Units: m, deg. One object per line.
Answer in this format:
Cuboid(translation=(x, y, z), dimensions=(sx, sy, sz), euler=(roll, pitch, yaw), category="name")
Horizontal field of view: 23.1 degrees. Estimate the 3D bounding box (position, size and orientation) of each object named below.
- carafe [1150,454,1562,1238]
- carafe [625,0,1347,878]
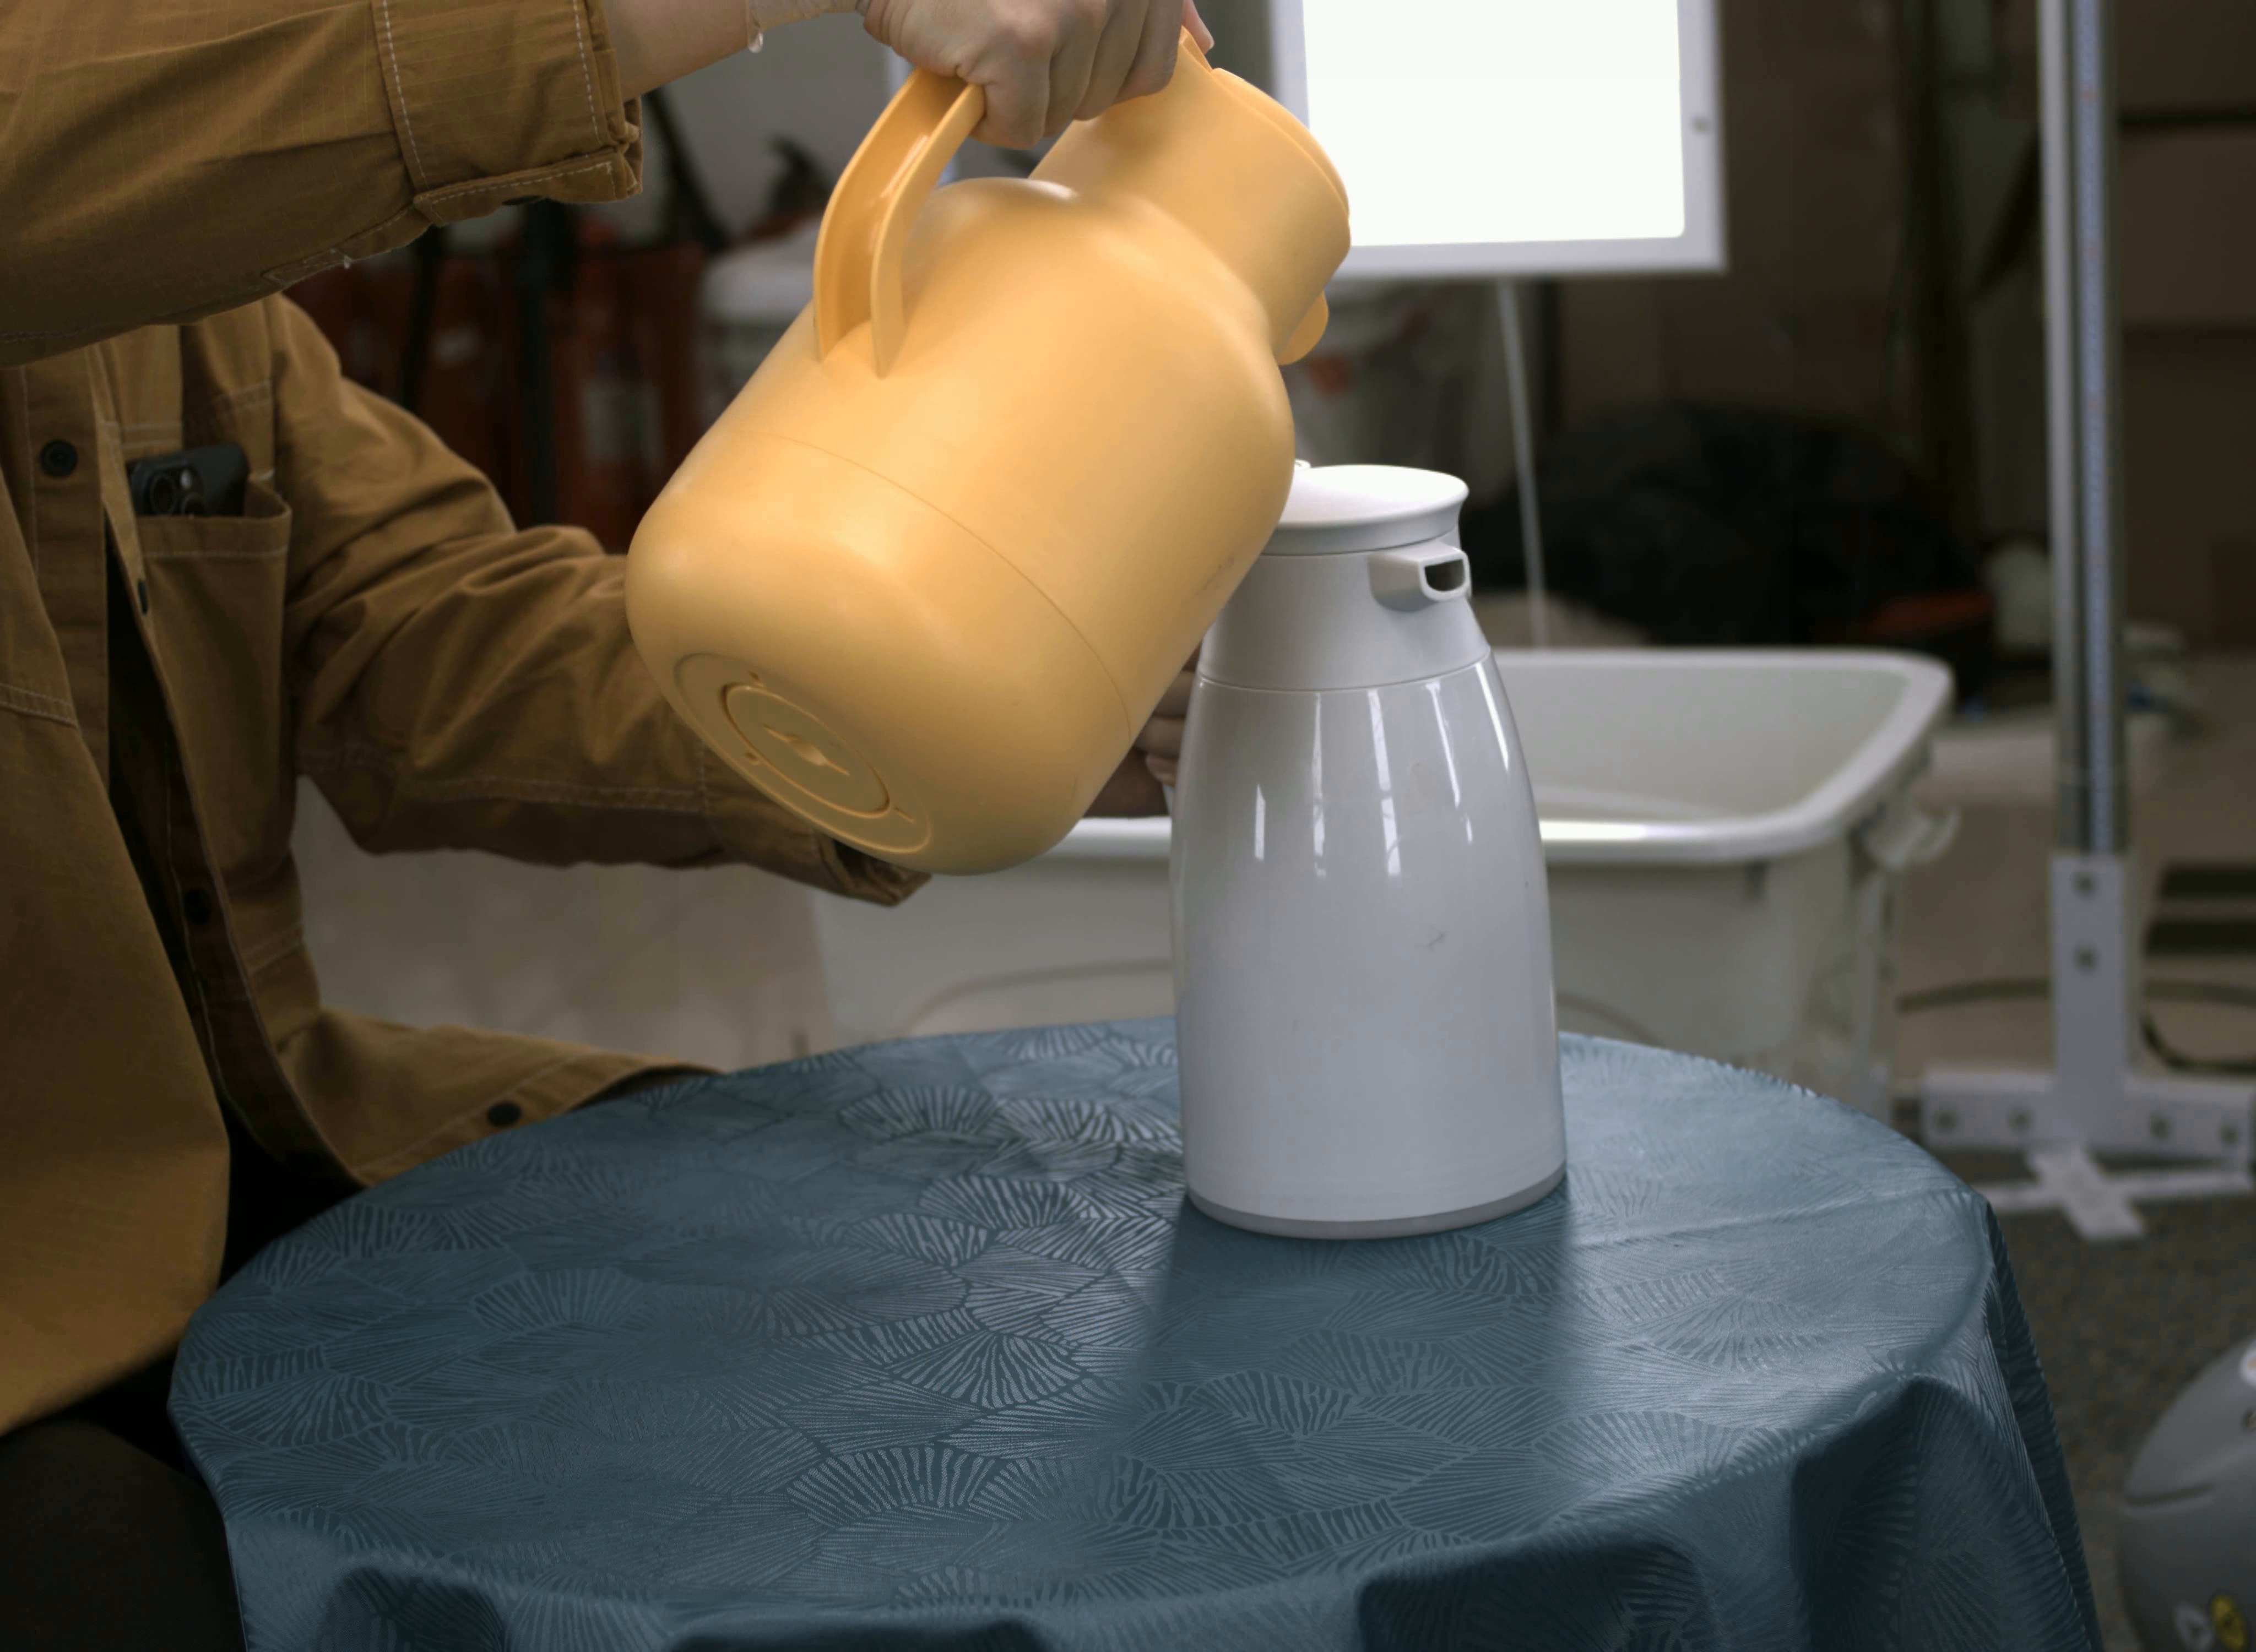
Cuboid(translation=(0.064, -0.001, 1.874), dimensions=(0.129, 0.249, 0.171), euler=(-13, 16, -31), category="carafe")
Cuboid(translation=(-0.040, -0.133, 1.702), dimensions=(0.167, 0.200, 0.257), euler=(15, 62, 40), category="carafe")
